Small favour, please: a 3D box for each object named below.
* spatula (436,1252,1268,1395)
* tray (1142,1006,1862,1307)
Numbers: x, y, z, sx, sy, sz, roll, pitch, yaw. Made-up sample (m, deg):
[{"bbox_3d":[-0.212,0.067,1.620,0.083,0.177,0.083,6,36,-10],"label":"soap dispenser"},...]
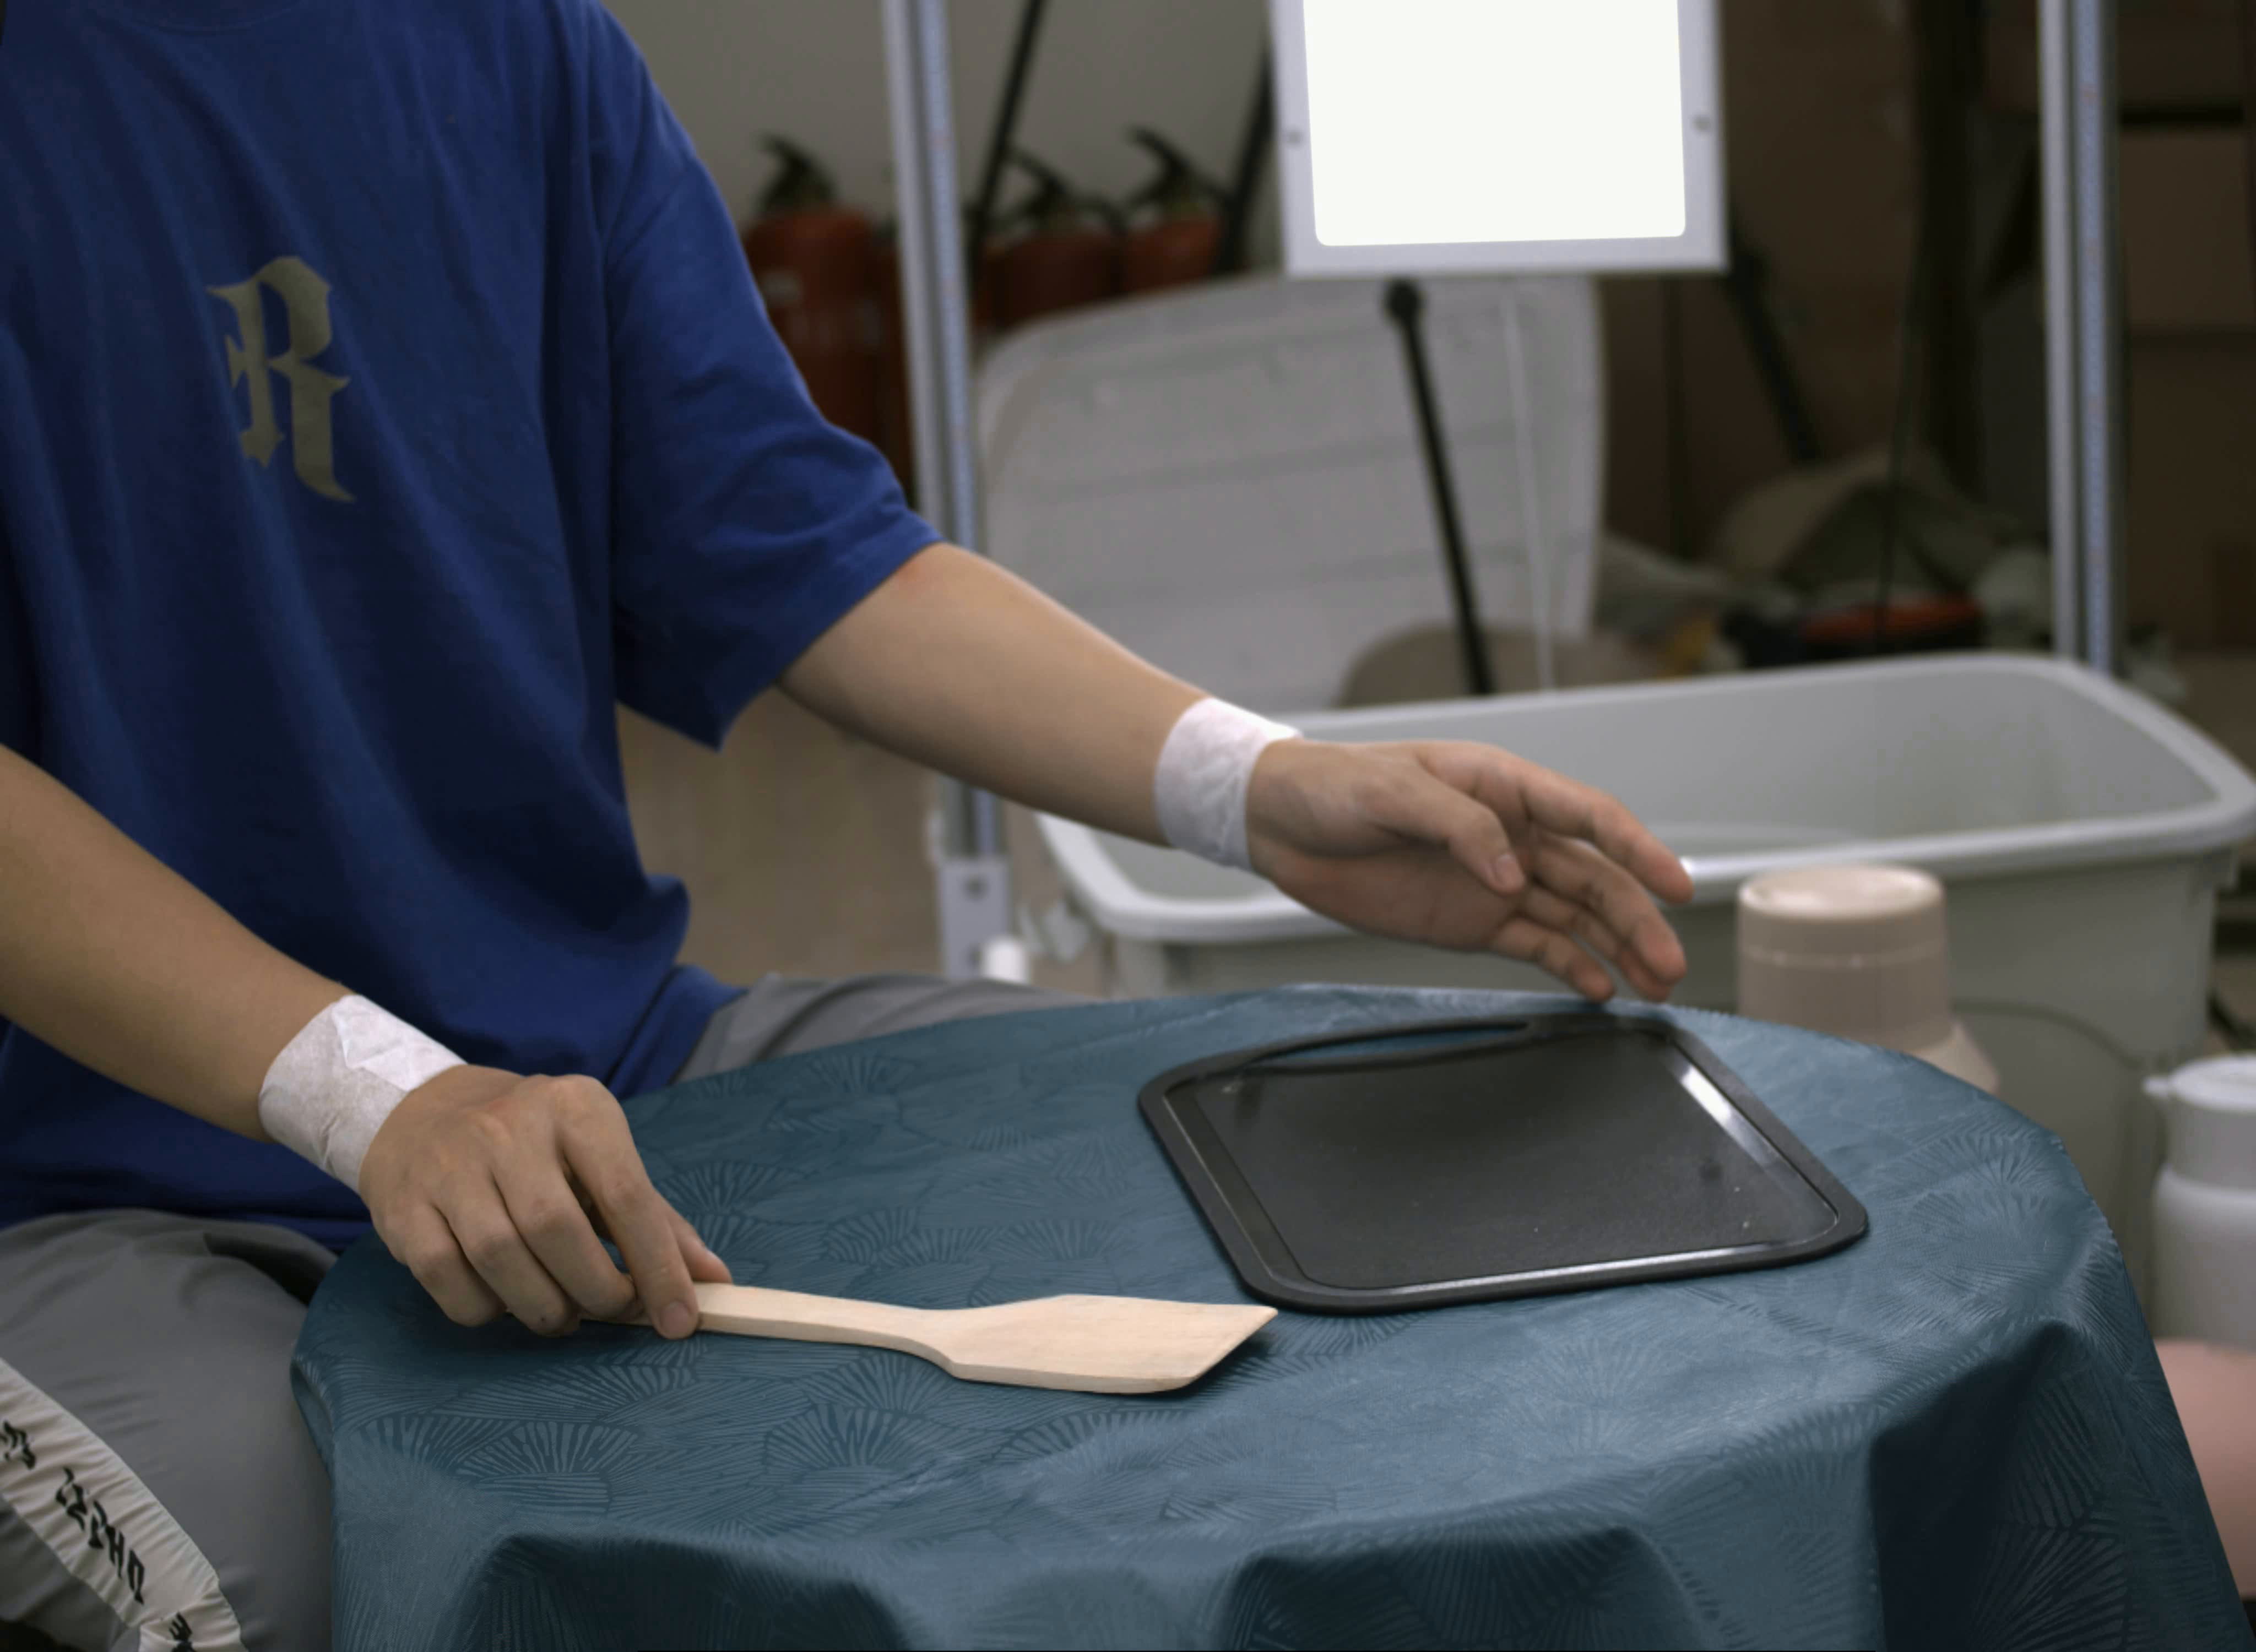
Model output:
[{"bbox_3d":[-0.098,0.158,1.783,0.298,0.011,0.071,3,17,28],"label":"spatula"},{"bbox_3d":[0.121,0.108,1.907,0.209,0.010,0.326,-7,14,-6],"label":"tray"}]
